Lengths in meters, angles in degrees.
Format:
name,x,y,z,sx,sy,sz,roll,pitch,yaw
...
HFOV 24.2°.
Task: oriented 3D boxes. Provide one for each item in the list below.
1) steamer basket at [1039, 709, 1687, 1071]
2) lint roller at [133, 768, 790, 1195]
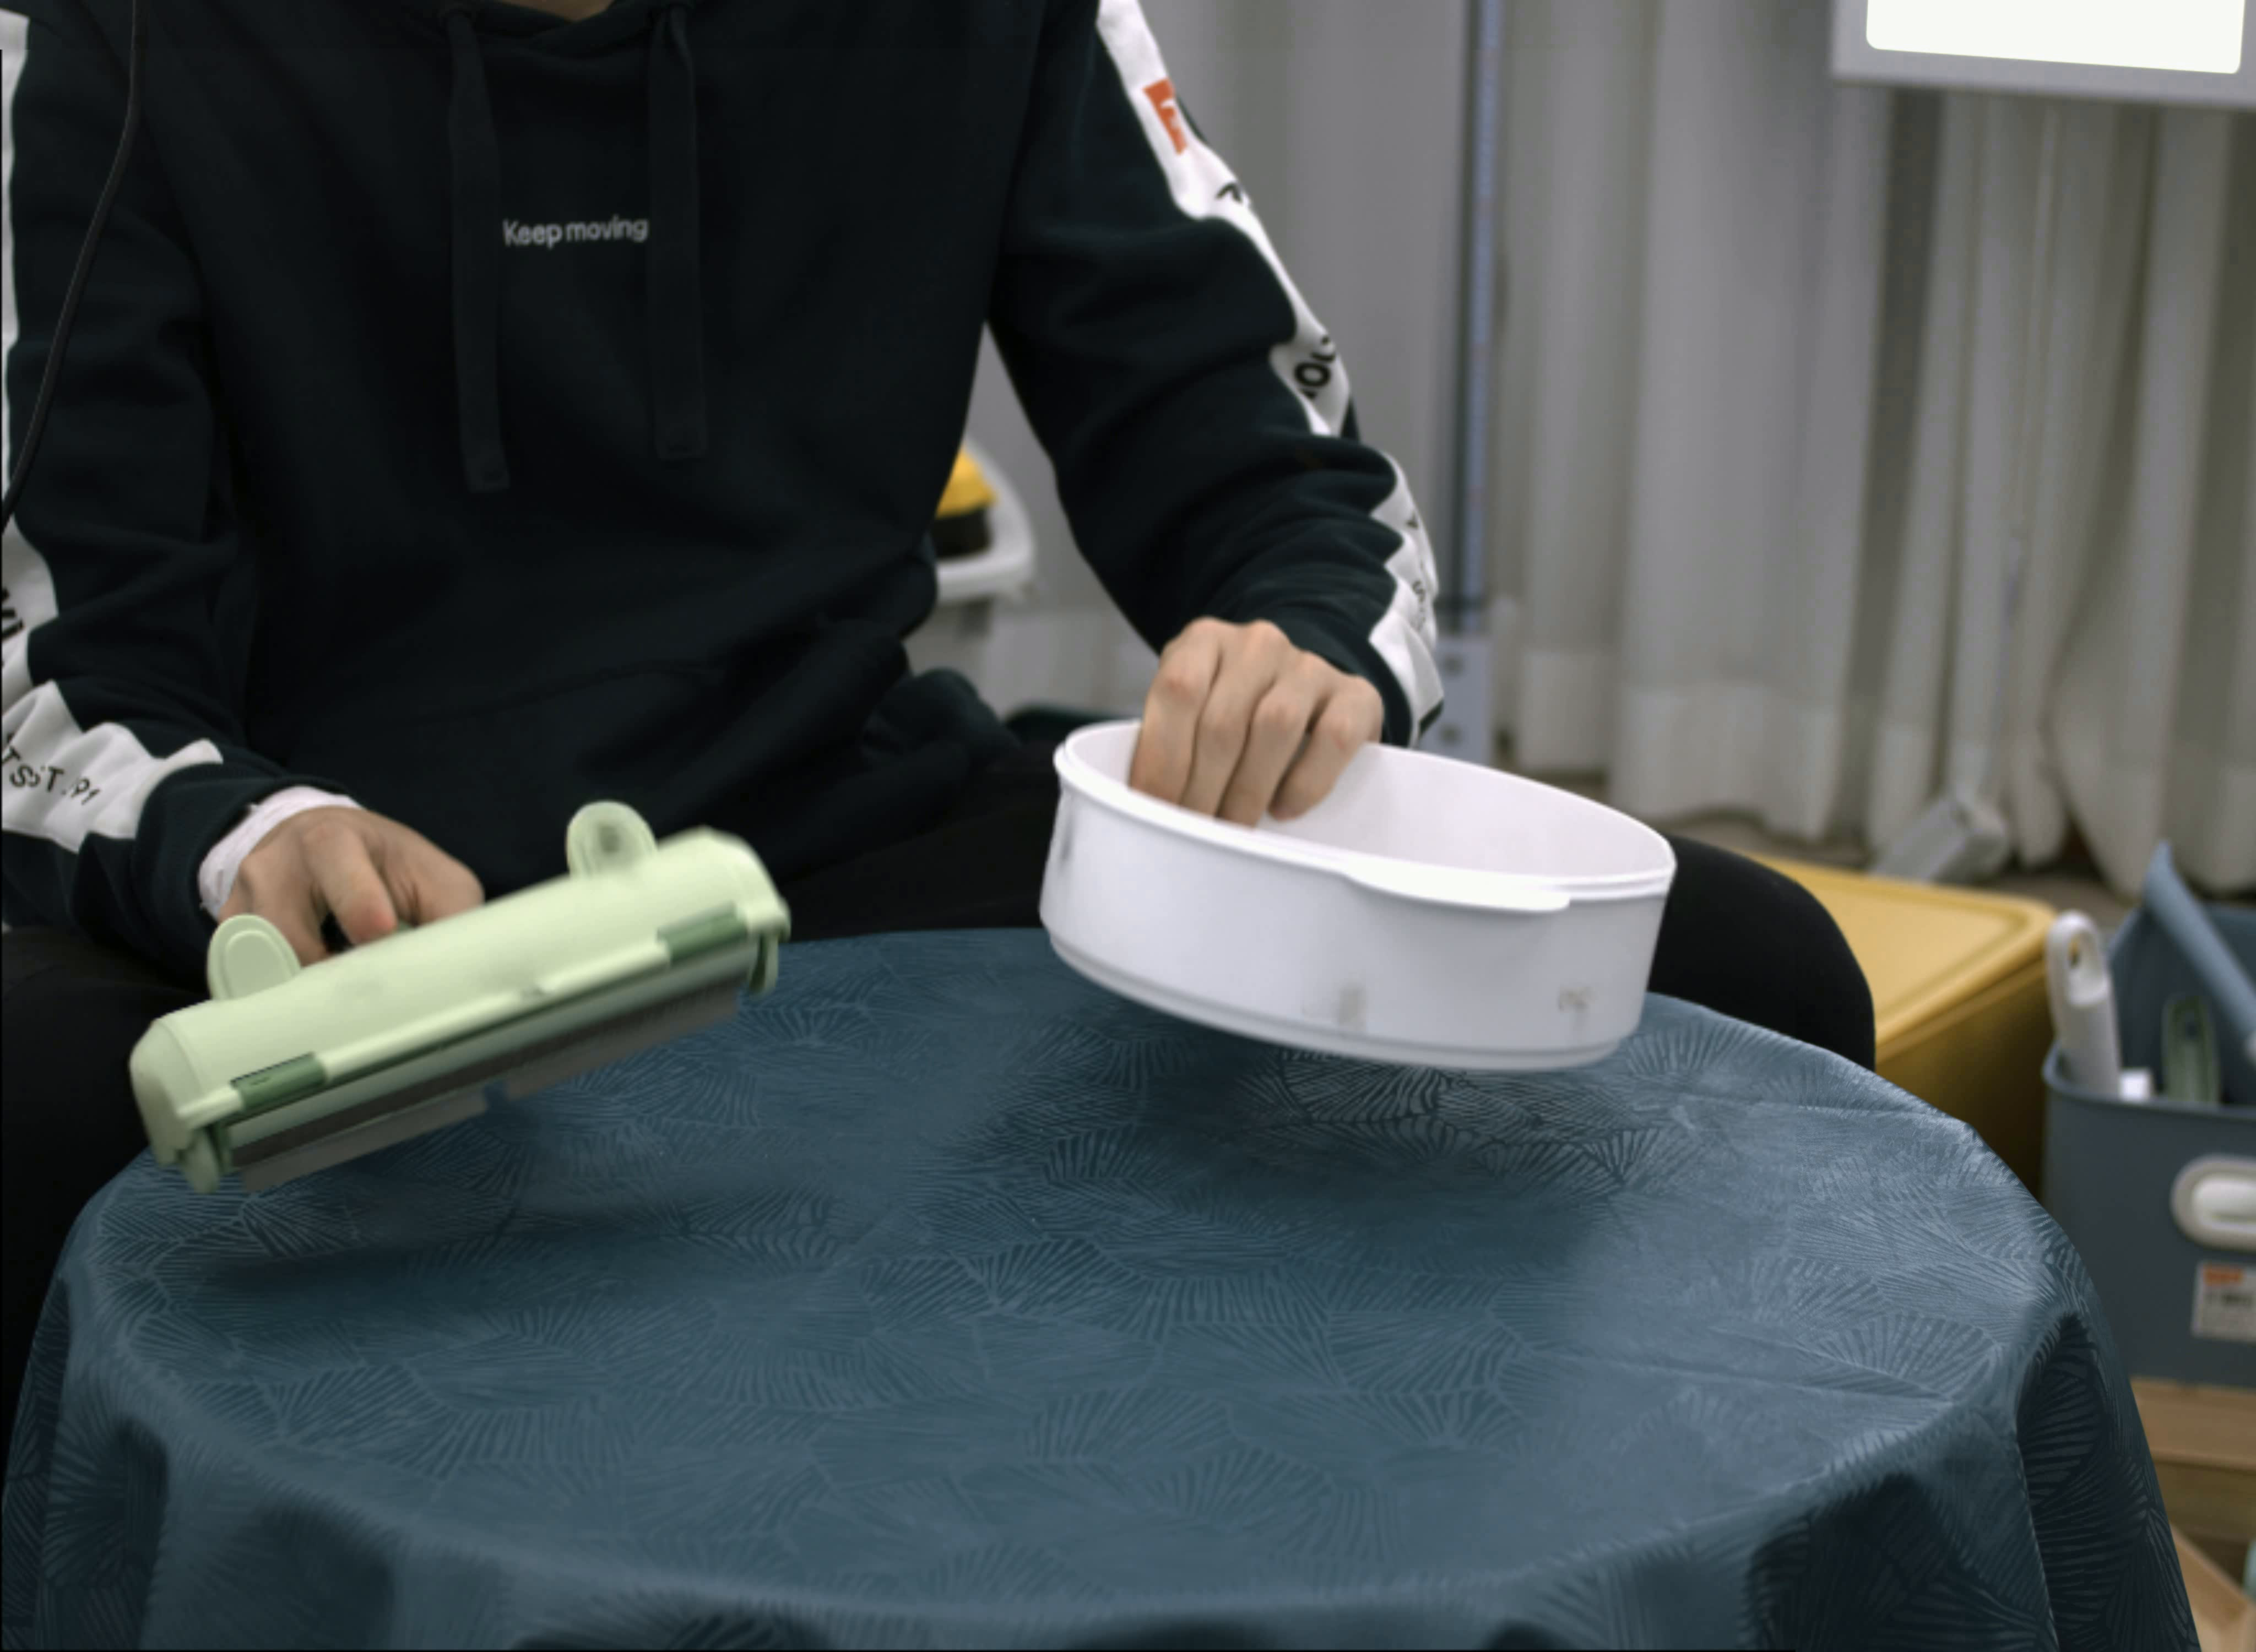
name,x,y,z,sx,sy,sz,roll,pitch,yaw
steamer basket,0.072,0.021,1.660,0.202,0.069,0.228,7,13,-17
lint roller,-0.223,0.030,1.603,0.199,0.083,0.181,-23,25,-22
